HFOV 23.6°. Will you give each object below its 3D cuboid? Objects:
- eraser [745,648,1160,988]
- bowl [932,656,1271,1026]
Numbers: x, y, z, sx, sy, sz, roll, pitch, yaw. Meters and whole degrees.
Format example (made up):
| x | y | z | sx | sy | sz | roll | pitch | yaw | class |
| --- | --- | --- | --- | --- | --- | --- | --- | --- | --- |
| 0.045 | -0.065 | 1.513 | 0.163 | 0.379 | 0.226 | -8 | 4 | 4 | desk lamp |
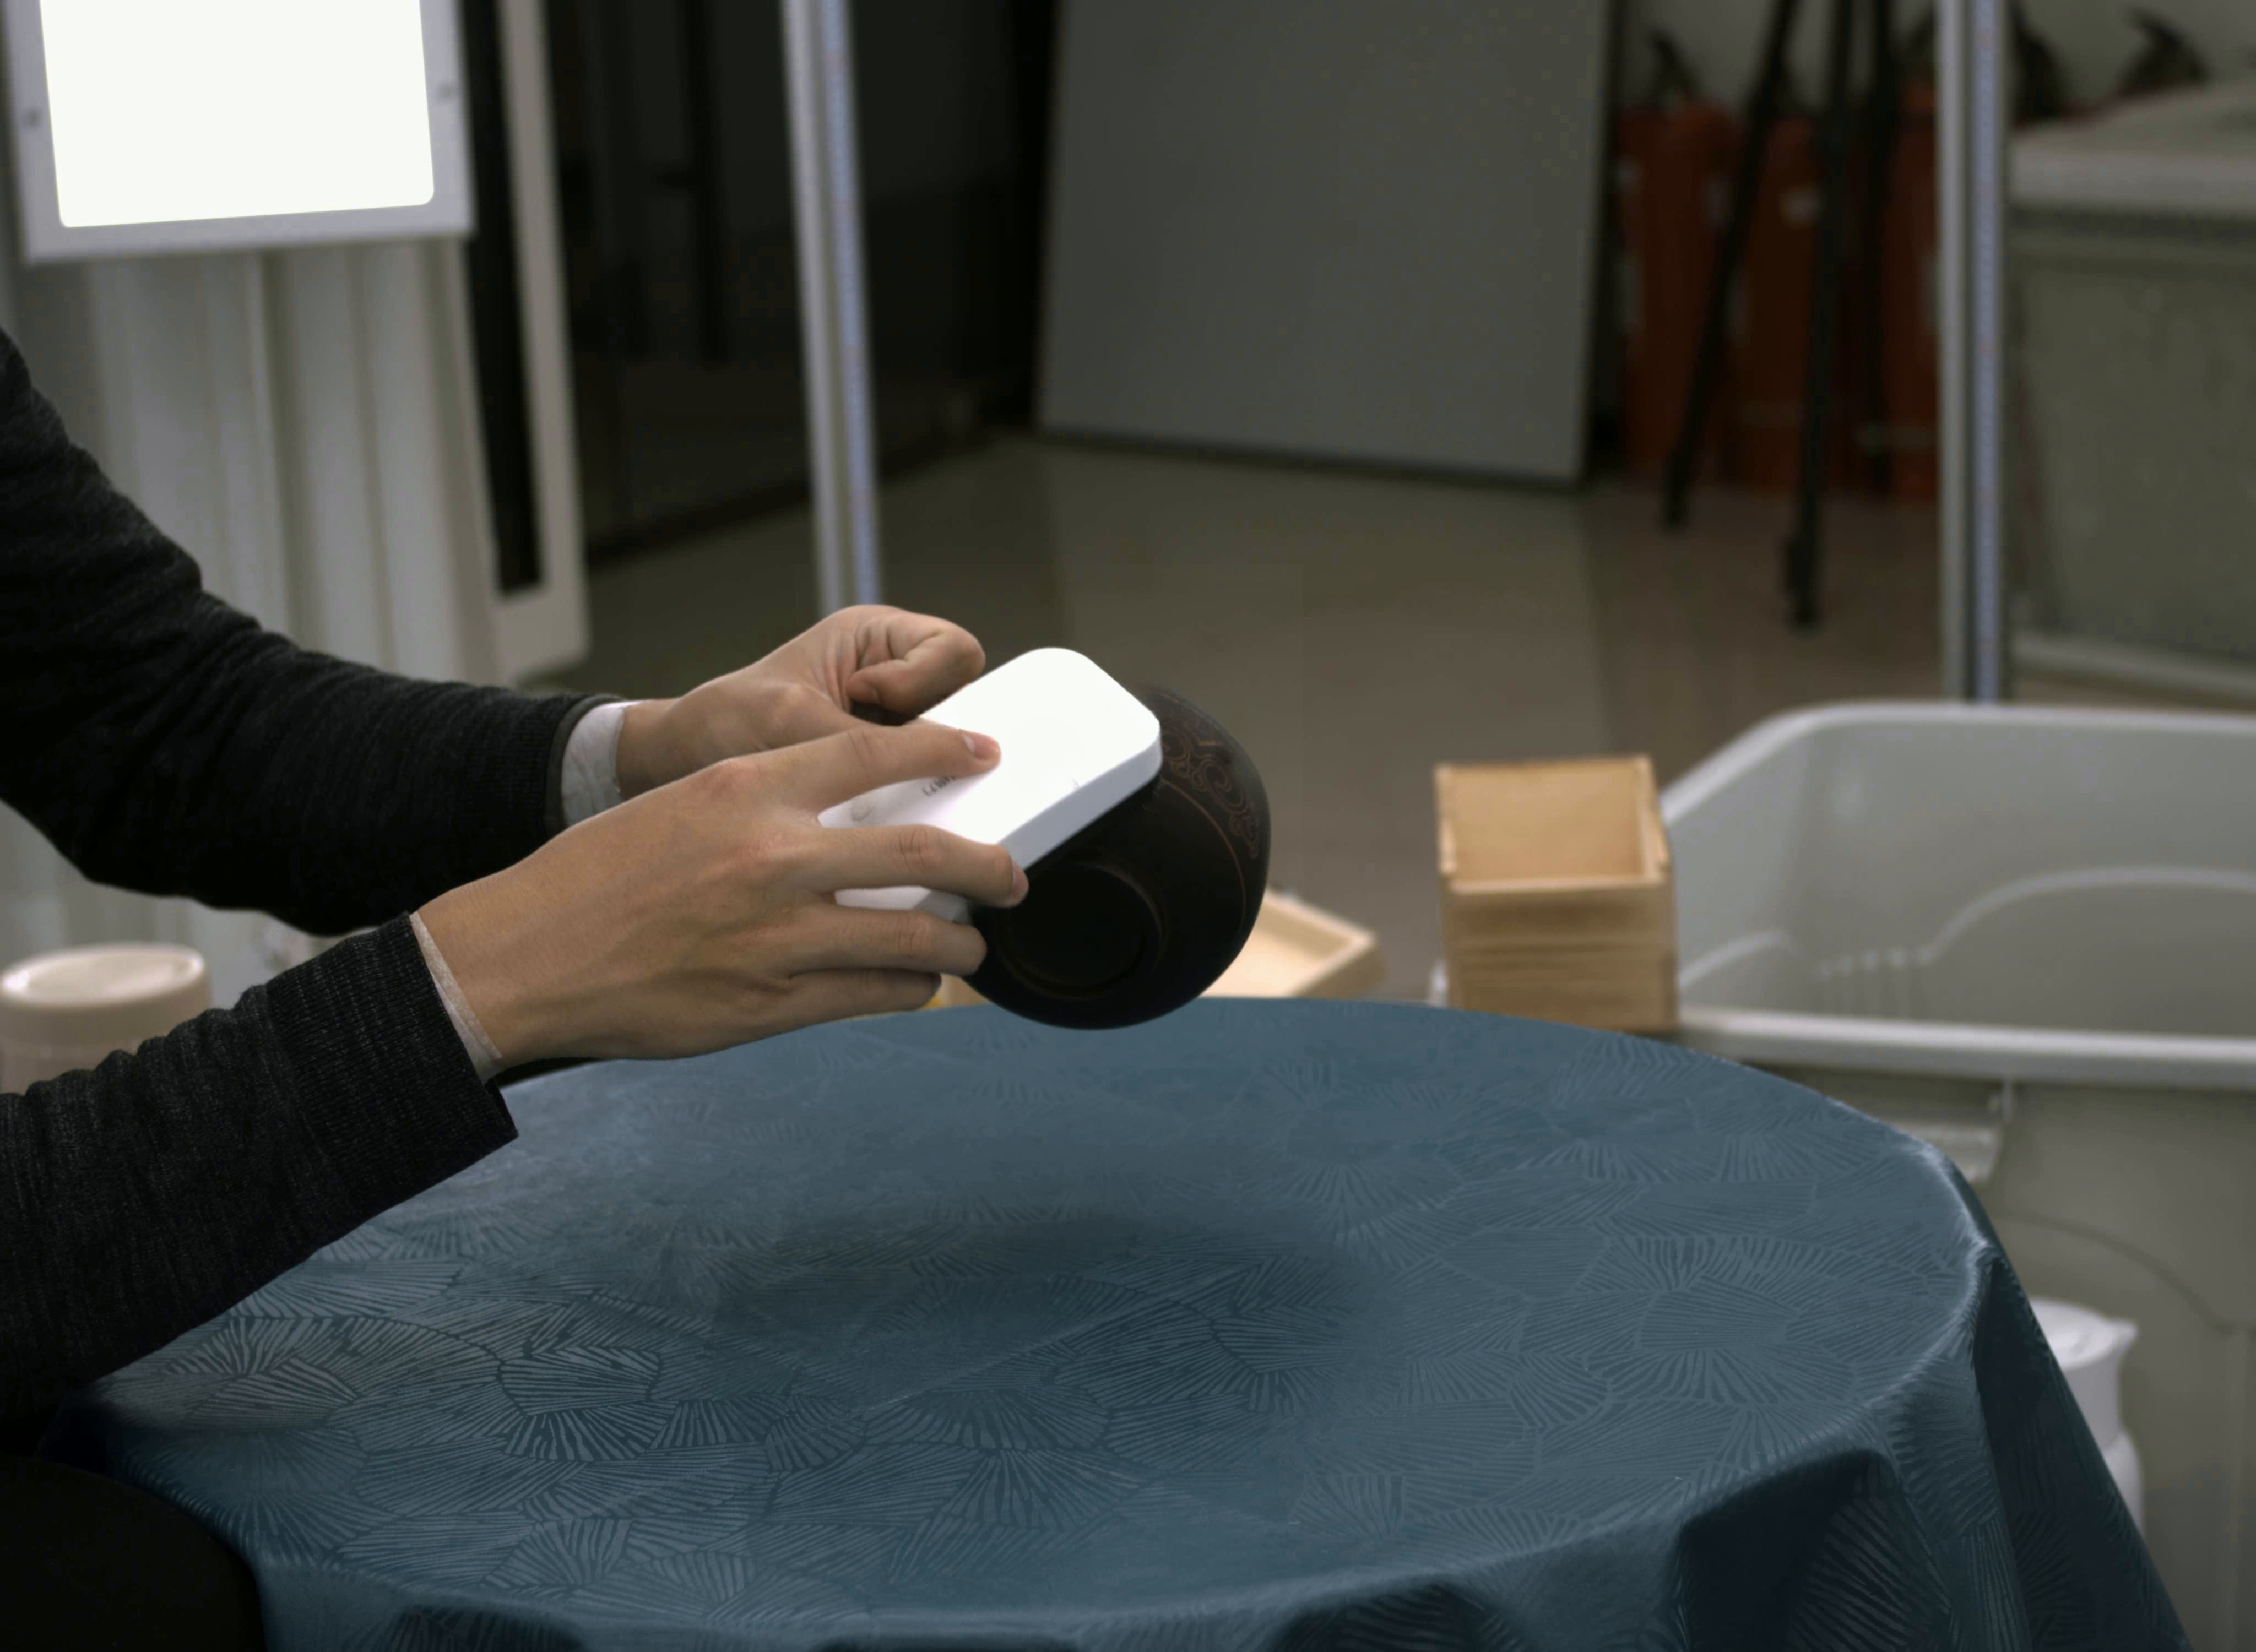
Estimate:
| x | y | z | sx | sy | sz | roll | pitch | yaw | class |
| --- | --- | --- | --- | --- | --- | --- | --- | --- | --- |
| -0.053 | -0.005 | 1.645 | 0.130 | 0.034 | 0.064 | -34 | 48 | -17 | eraser |
| -0.014 | 0.013 | 1.713 | 0.117 | 0.119 | 0.070 | -1 | 33 | 9 | bowl |
